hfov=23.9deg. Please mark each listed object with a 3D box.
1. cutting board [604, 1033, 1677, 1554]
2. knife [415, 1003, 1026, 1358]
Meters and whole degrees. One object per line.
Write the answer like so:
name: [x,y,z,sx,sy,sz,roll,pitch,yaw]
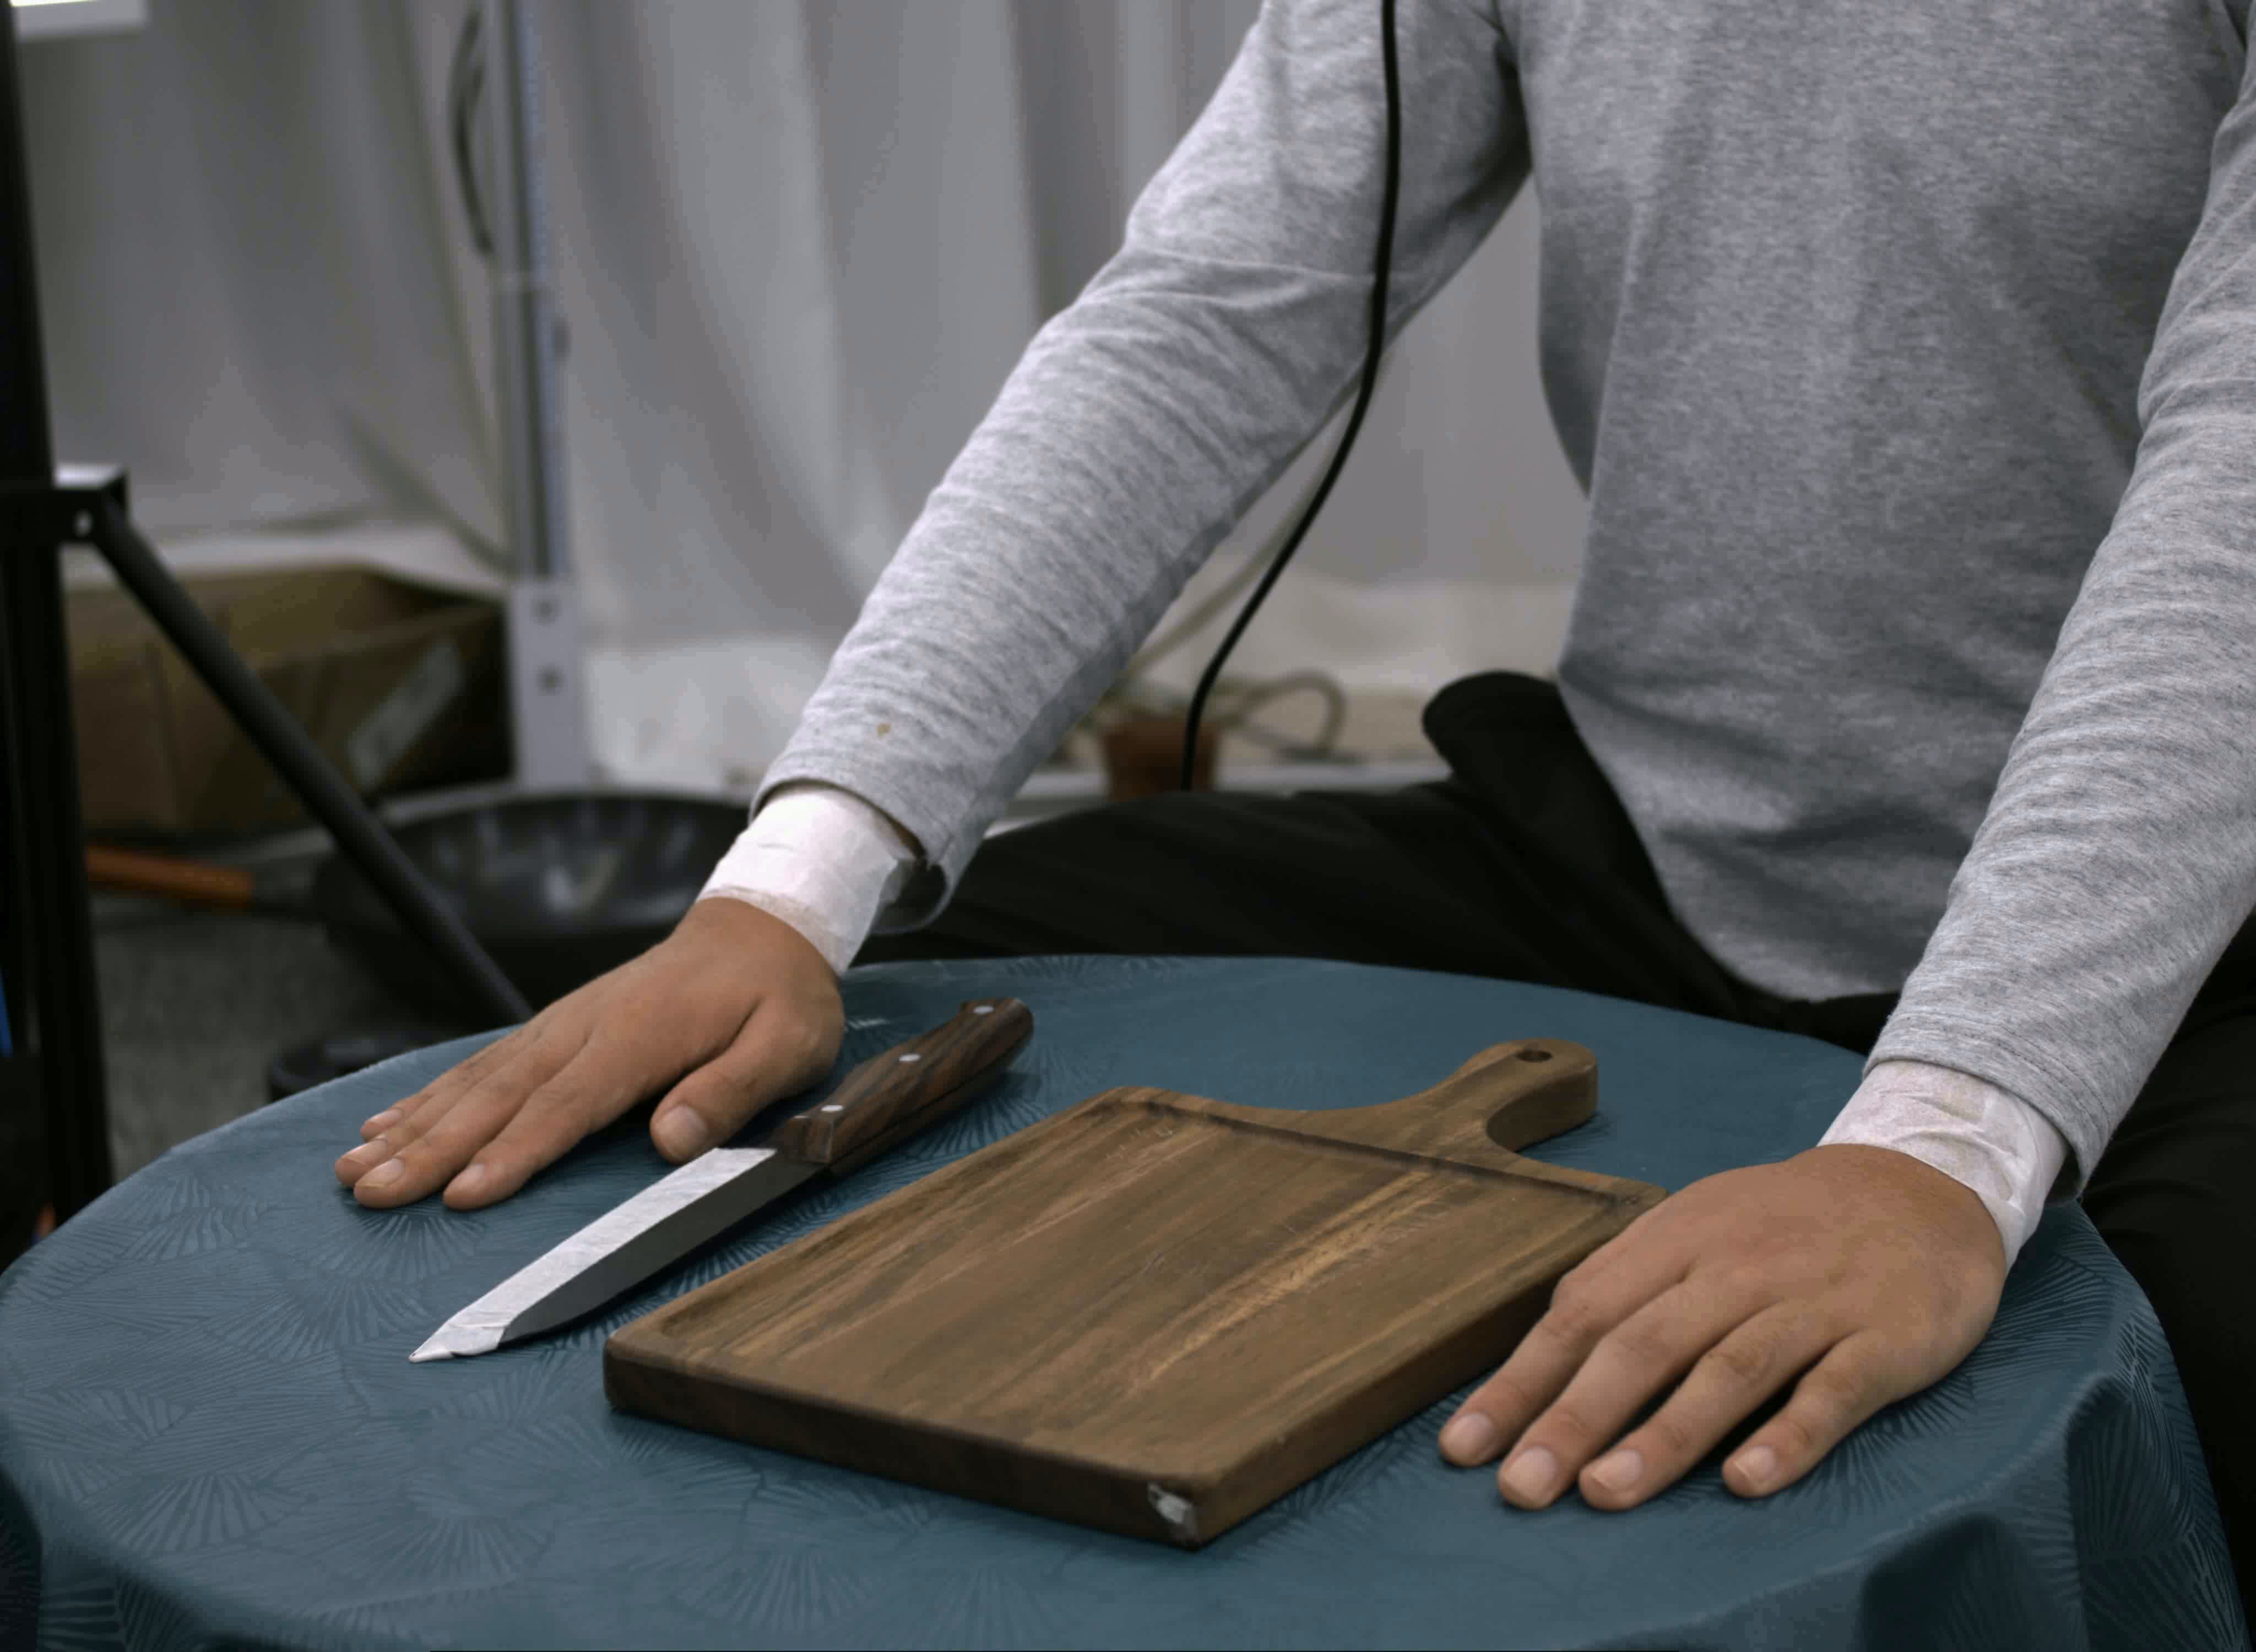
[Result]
cutting board: [0.036,0.117,1.489,0.205,0.023,0.345,9,20,34]
knife: [-0.114,0.105,1.565,0.051,0.020,0.284,2,18,34]
